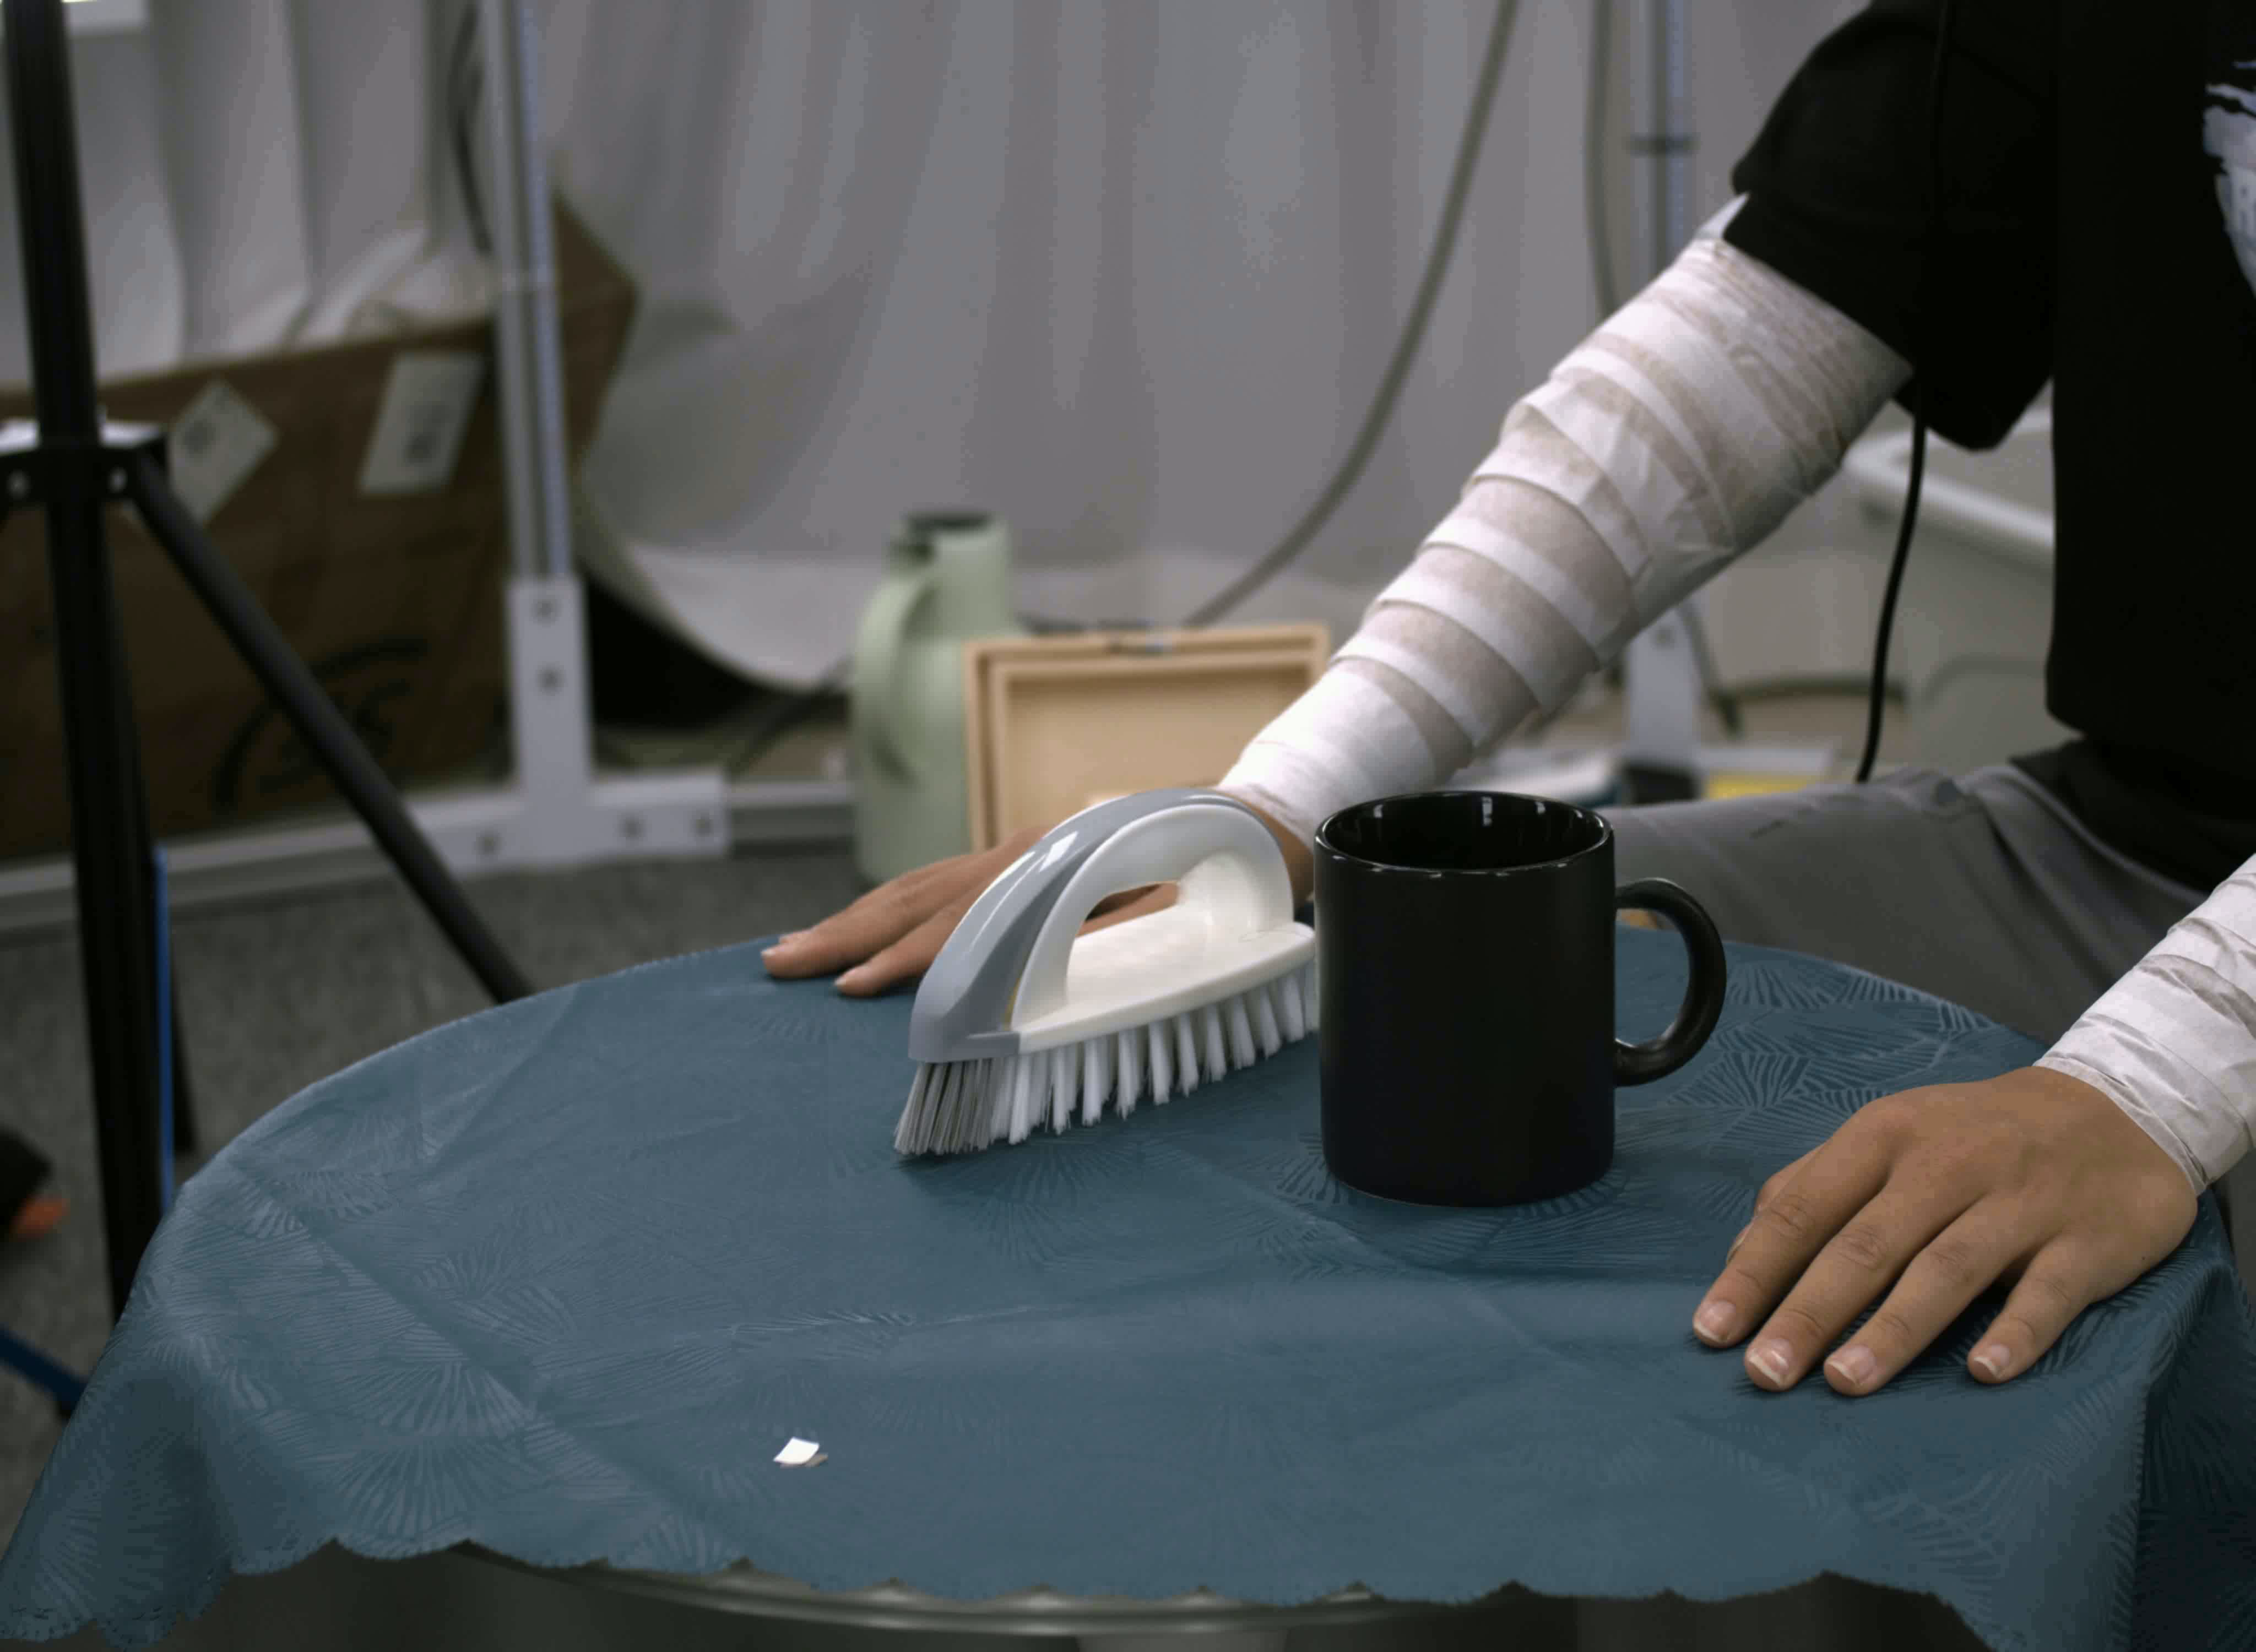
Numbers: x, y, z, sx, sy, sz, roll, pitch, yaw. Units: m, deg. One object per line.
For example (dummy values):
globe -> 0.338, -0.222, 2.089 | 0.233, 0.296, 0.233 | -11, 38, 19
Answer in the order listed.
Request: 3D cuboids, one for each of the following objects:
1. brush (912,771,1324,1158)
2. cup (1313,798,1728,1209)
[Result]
brush -> -0.009, 0.038, 1.640 | 0.063, 0.094, 0.172 | 9, 22, 42
cup -> 0.117, 0.051, 1.561 | 0.122, 0.105, 0.089 | -3, 11, -7
